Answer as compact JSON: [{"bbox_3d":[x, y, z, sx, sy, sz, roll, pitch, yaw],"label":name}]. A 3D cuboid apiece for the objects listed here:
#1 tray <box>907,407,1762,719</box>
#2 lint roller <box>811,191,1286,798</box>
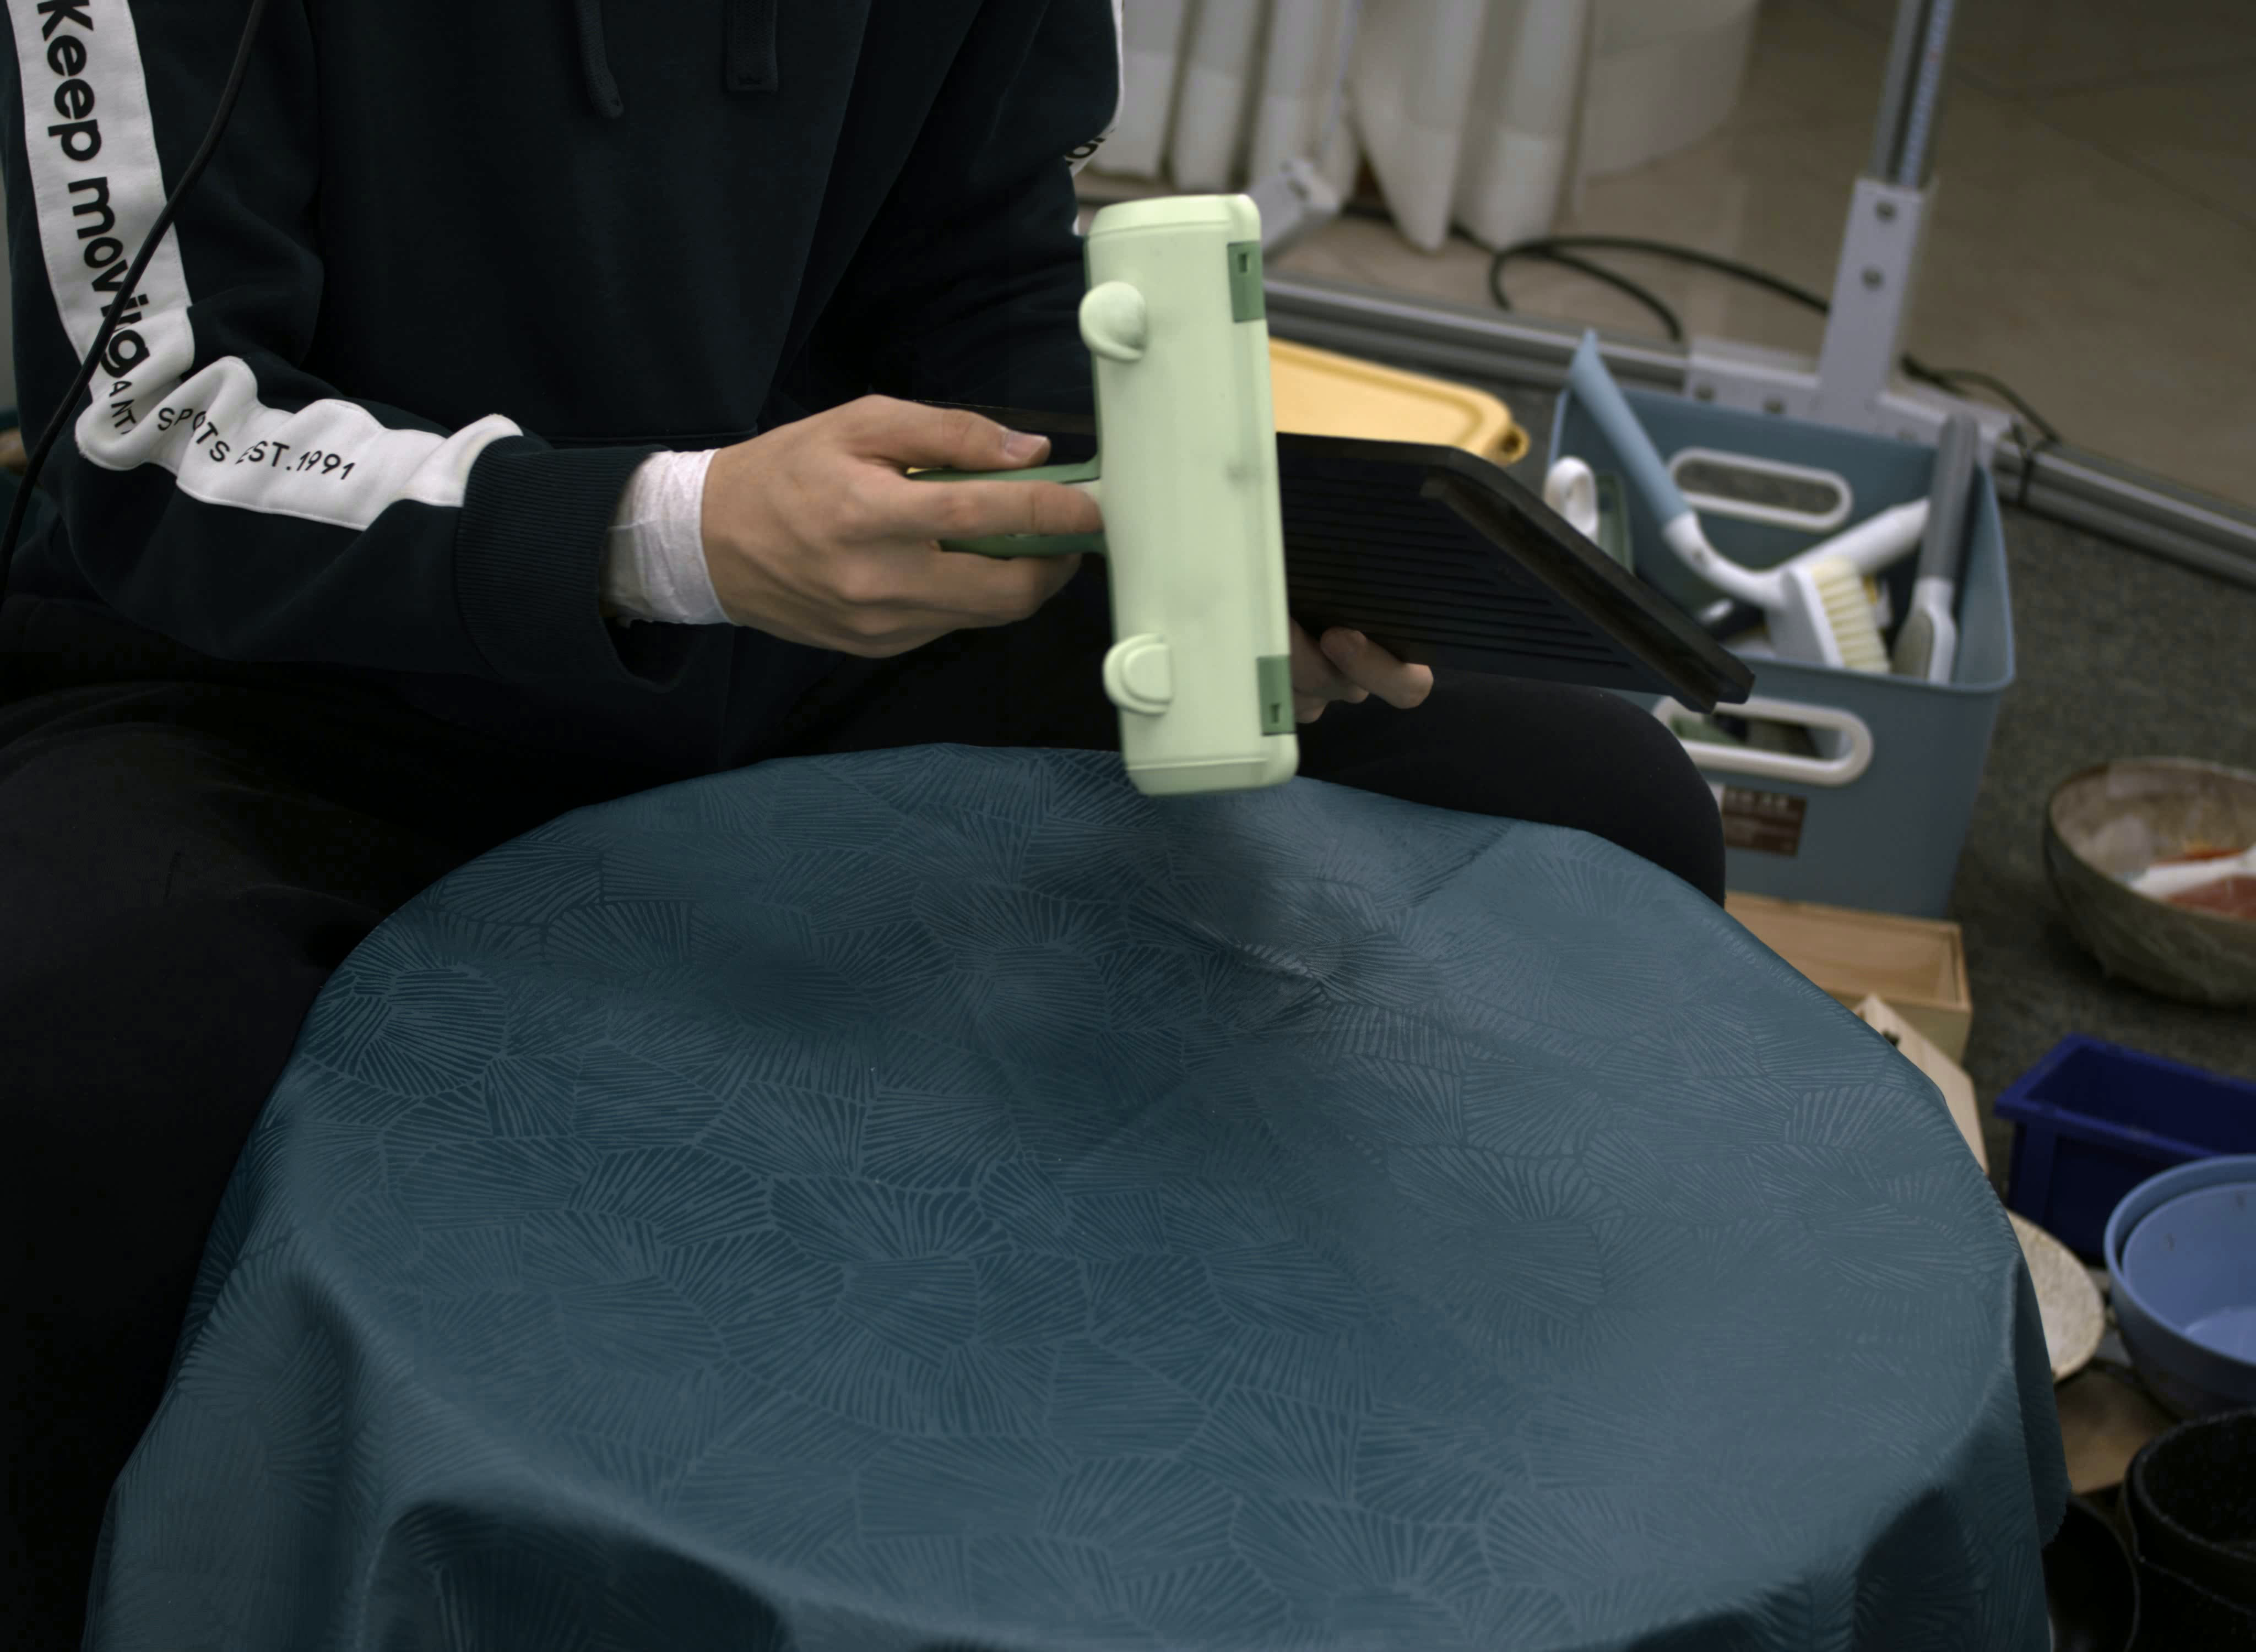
[{"bbox_3d":[0.066,-0.092,1.874,0.168,0.018,0.308,35,-17,-38],"label":"tray"},{"bbox_3d":[-0.037,-0.105,1.768,0.184,0.199,0.082,-4,-1,24],"label":"lint roller"}]
